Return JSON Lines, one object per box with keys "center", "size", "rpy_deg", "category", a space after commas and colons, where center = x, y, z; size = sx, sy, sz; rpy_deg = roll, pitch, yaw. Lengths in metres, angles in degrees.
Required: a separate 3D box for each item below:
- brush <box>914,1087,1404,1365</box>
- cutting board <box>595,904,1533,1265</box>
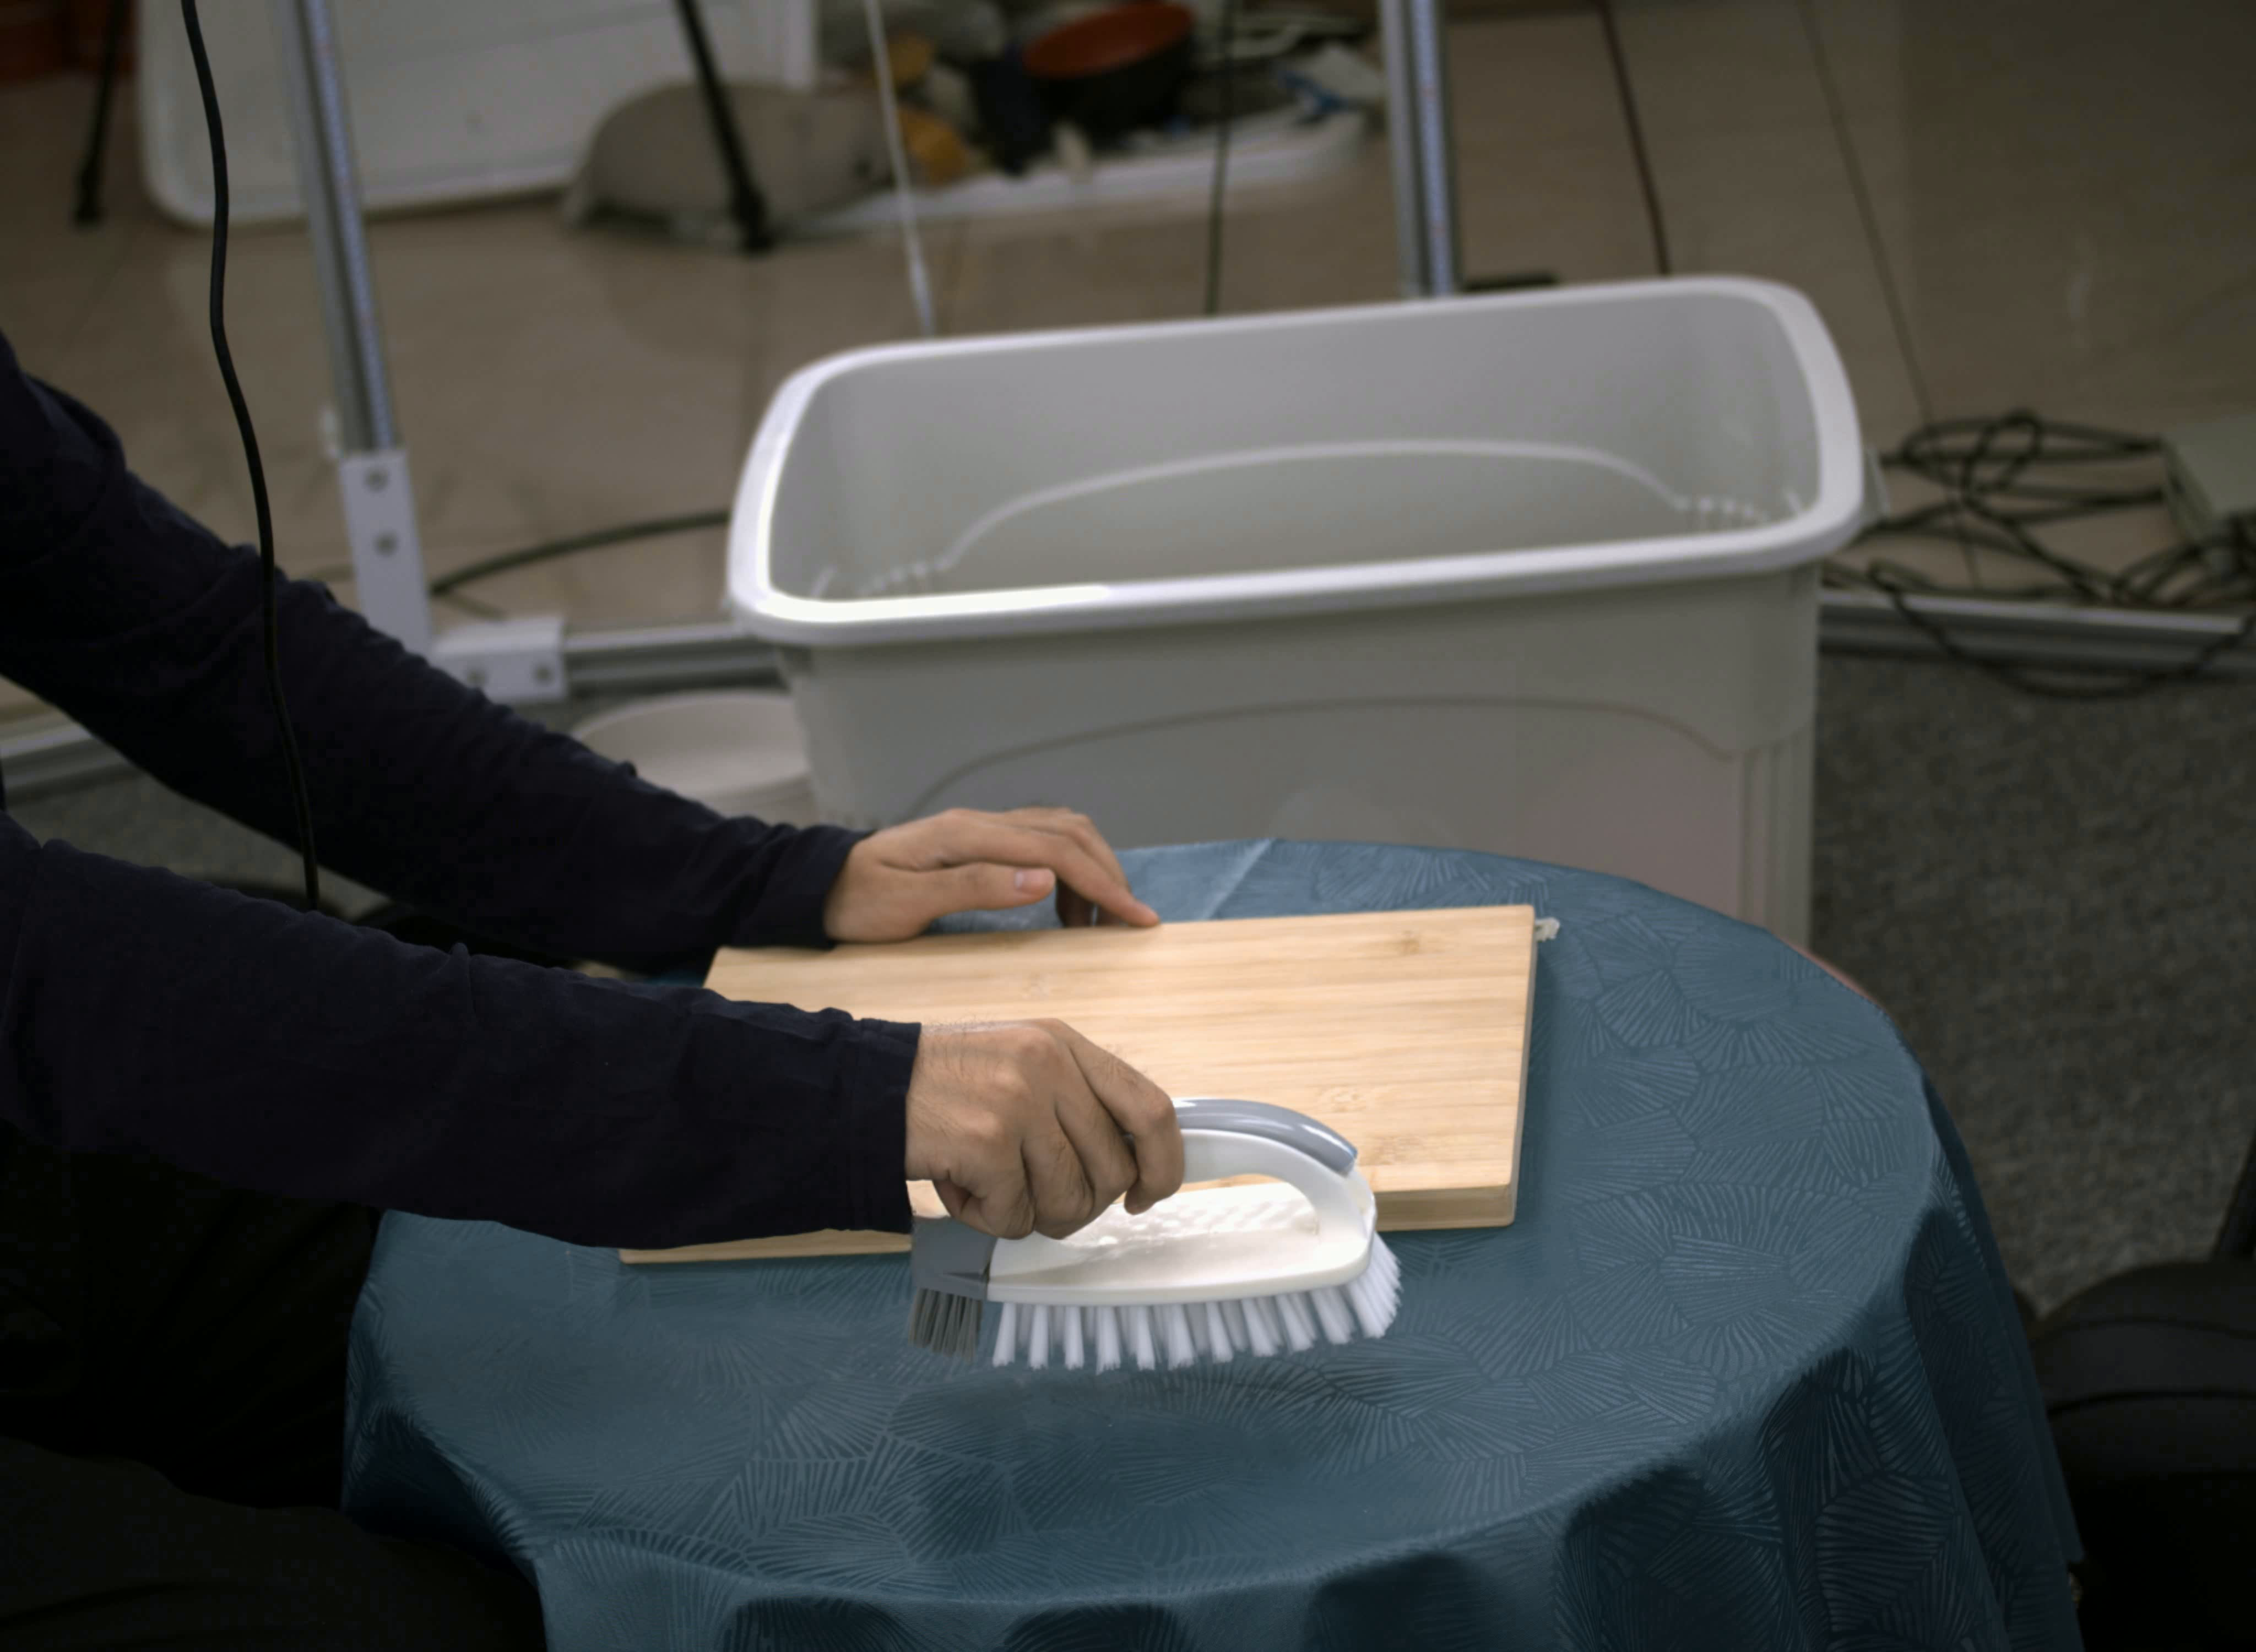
{"center": [0.003, 0.139, 1.979], "size": [0.175, 0.096, 0.060], "rpy_deg": [-8, 28, 13], "category": "brush"}
{"center": [-0.018, 0.099, 2.219], "size": [0.348, 0.024, 0.247], "rpy_deg": [-3, 24, 7], "category": "cutting board"}
